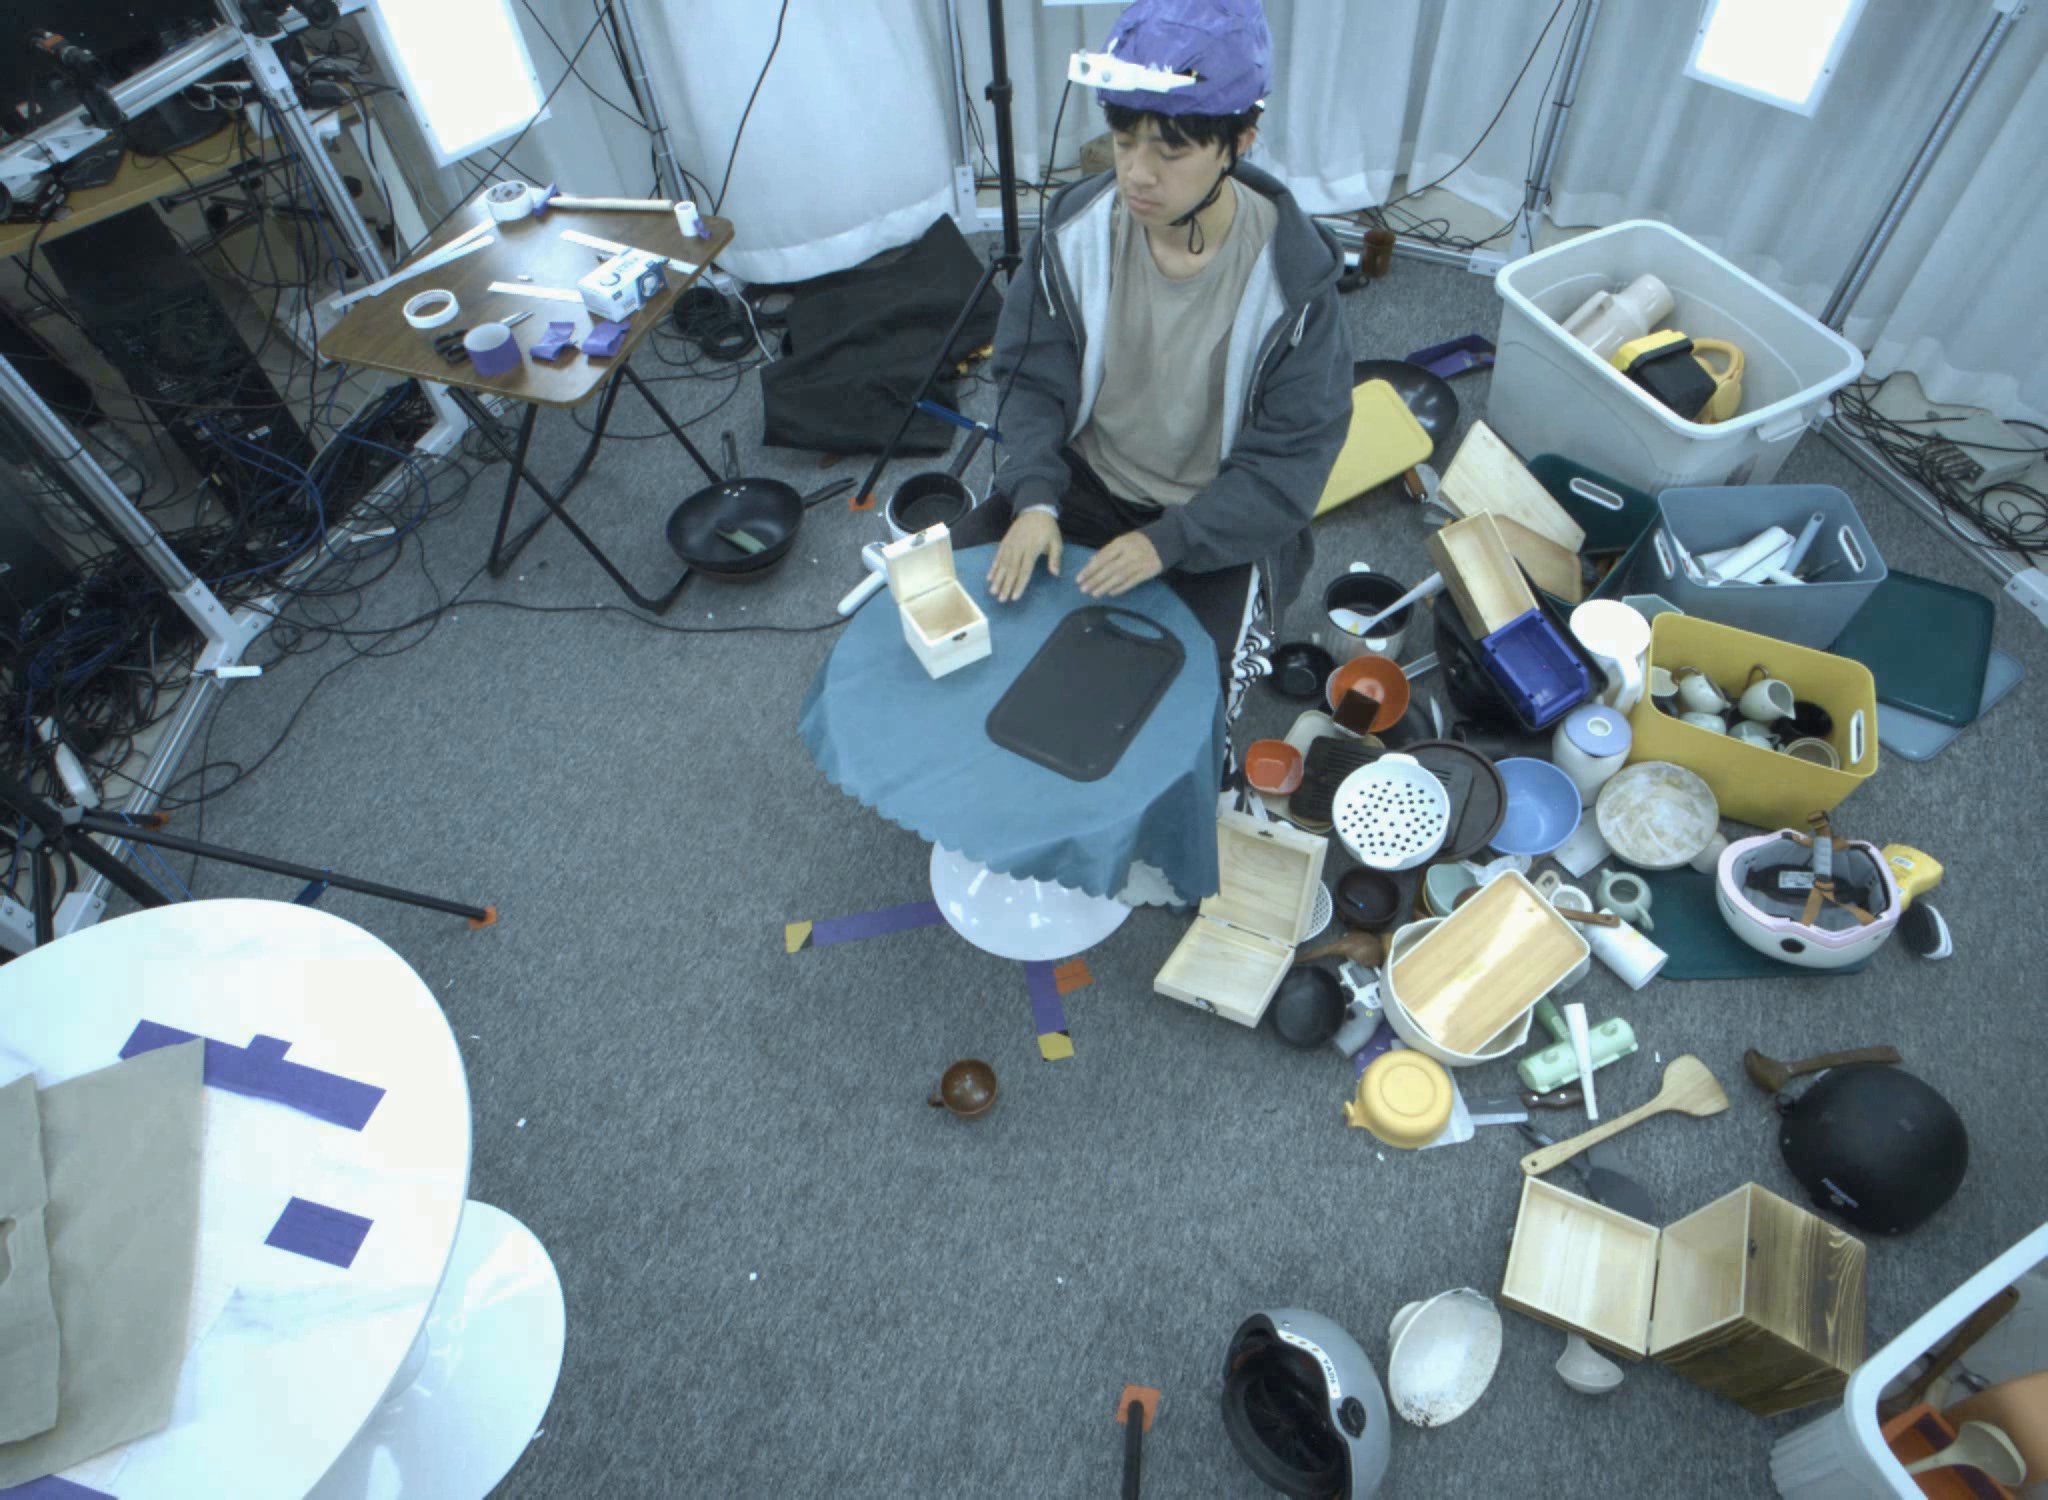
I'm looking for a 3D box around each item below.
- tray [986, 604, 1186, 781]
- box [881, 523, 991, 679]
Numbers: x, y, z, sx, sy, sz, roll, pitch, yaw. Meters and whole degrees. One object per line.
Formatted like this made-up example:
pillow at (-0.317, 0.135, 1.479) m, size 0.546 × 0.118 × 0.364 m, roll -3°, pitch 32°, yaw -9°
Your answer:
tray at (0.099, -0.100, 1.854) m, size 0.208 × 0.010 × 0.326 m, roll 26°, pitch 60°, yaw 19°
box at (-0.130, -0.222, 1.838) m, size 0.103 × 0.187 × 0.131 m, roll -27°, pitch 56°, yaw -14°
